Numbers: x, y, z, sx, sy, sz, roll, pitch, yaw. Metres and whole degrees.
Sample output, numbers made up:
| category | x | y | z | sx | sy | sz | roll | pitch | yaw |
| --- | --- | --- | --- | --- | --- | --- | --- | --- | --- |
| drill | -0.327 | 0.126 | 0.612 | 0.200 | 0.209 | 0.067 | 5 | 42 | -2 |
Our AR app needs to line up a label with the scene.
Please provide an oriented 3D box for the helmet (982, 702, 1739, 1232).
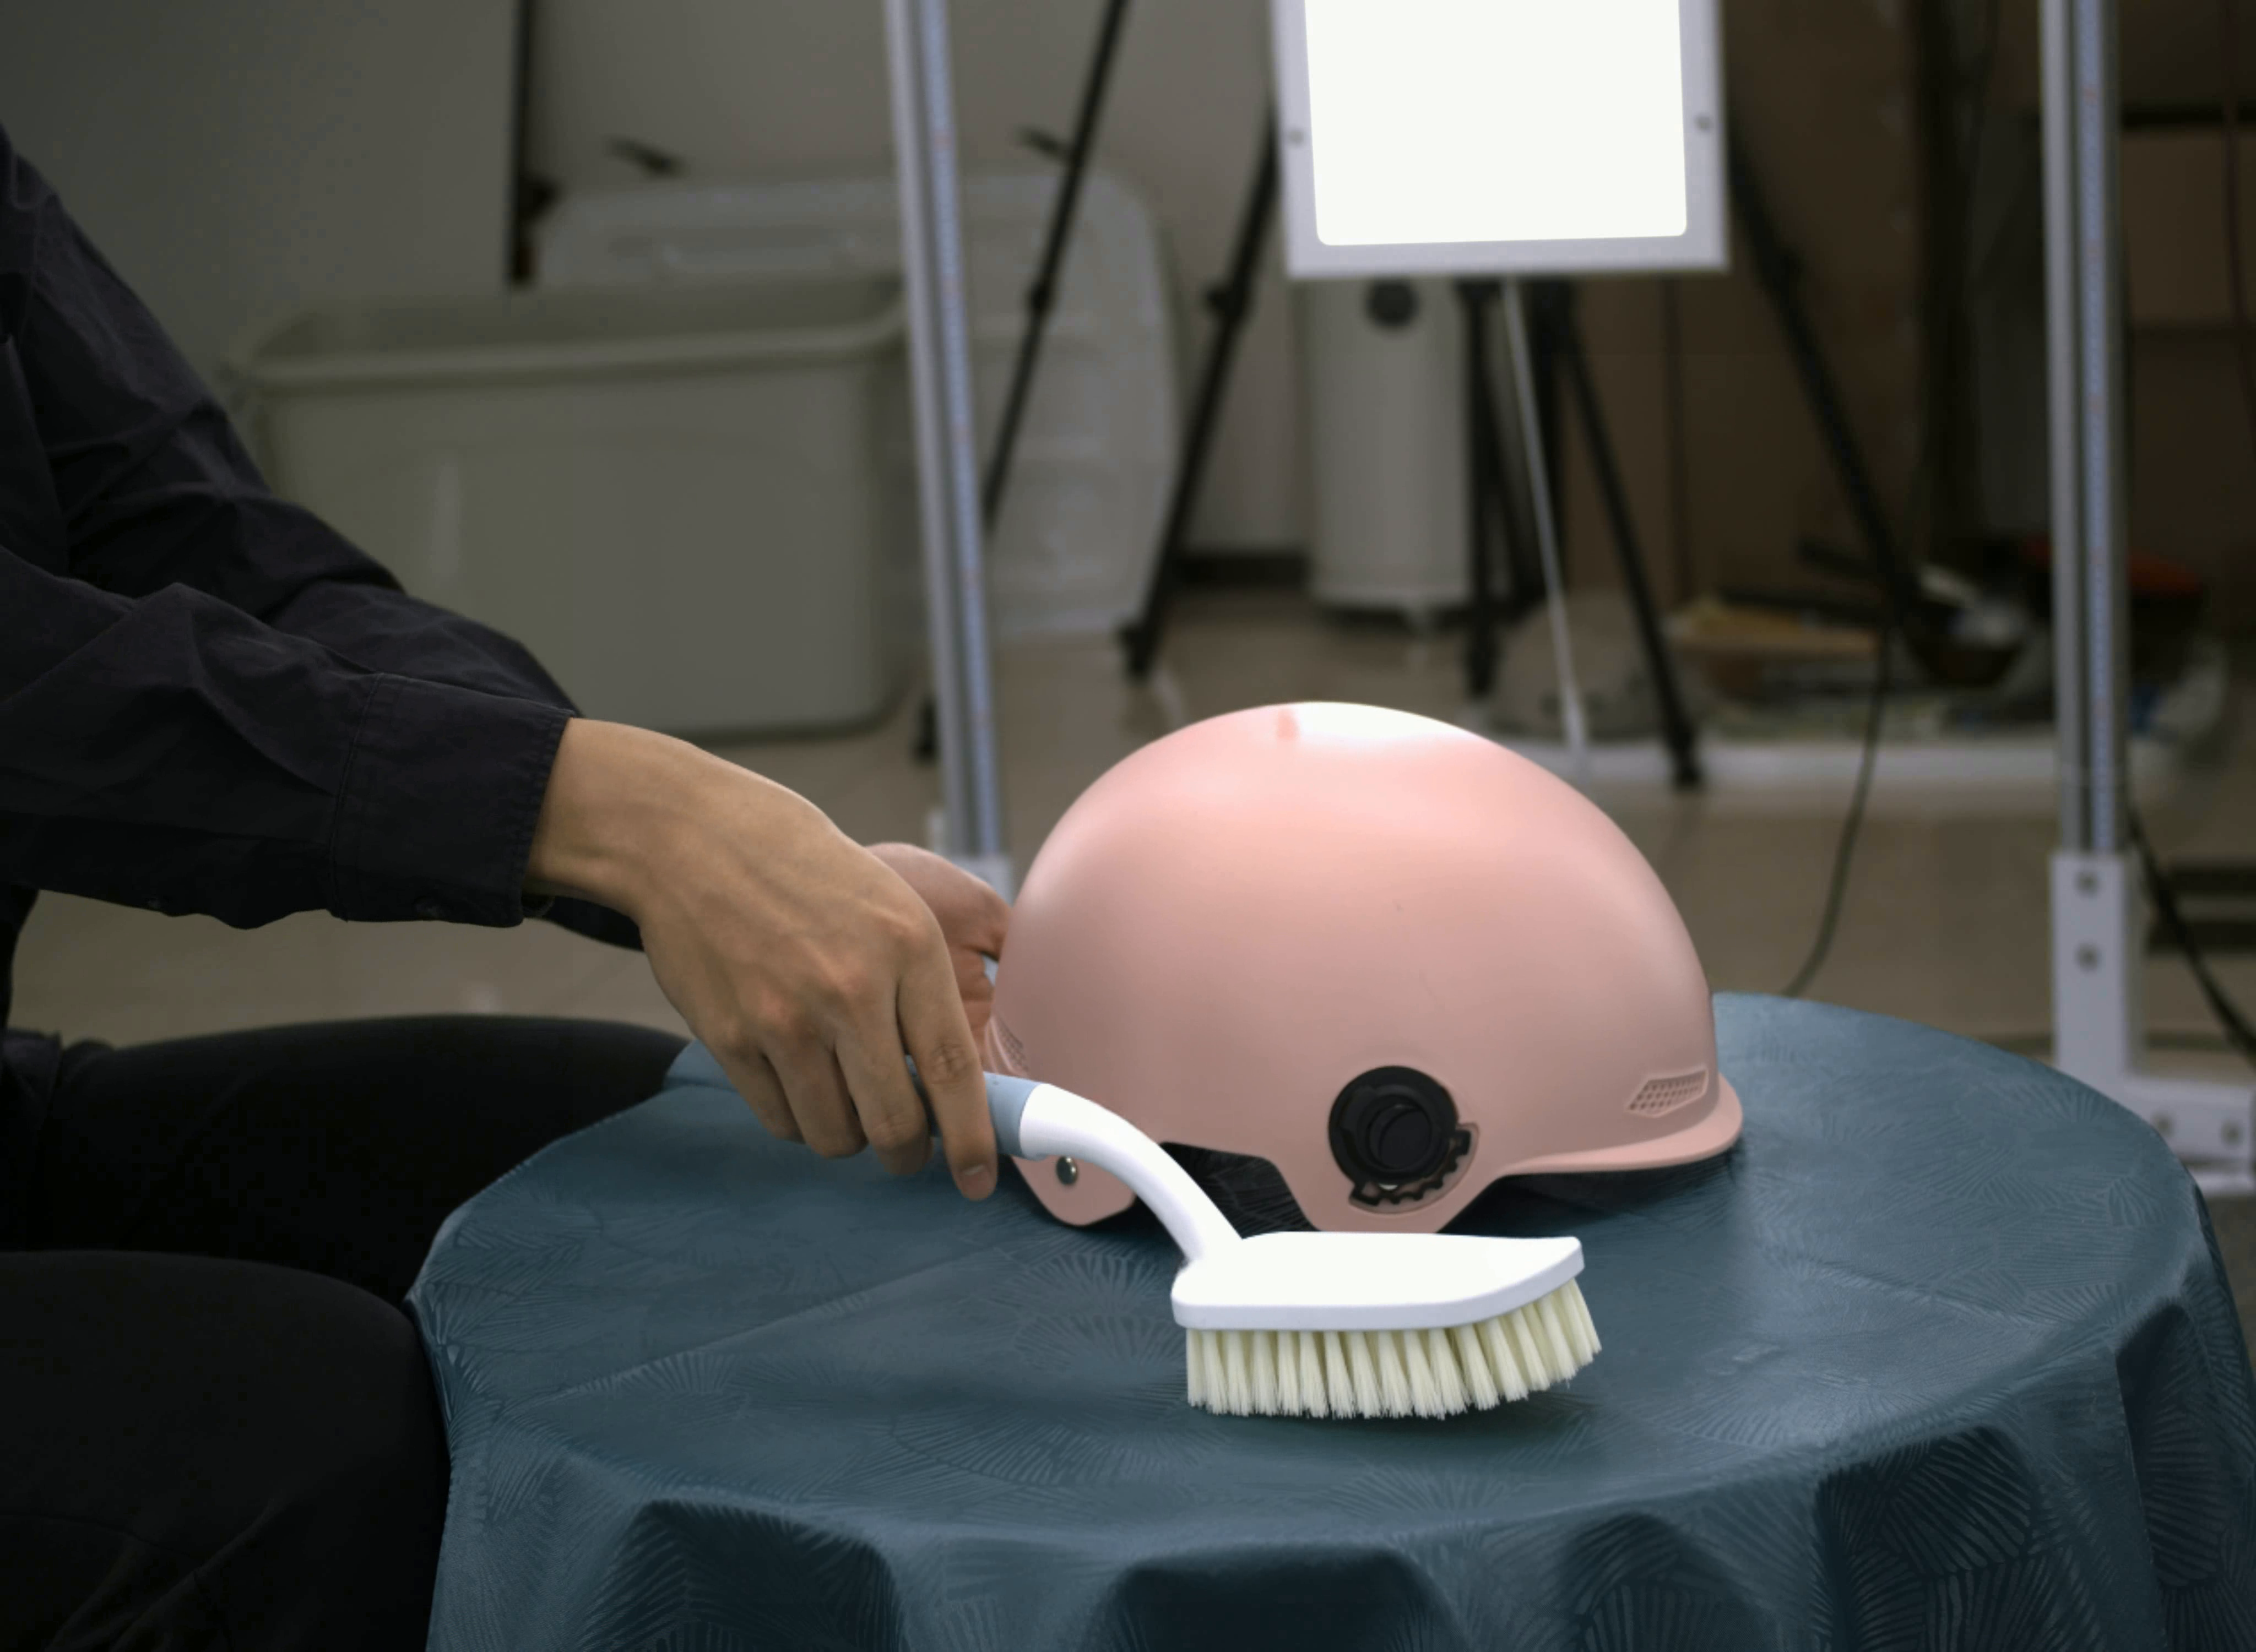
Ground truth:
| category | x | y | z | sx | sy | sz | roll | pitch | yaw |
| --- | --- | --- | --- | --- | --- | --- | --- | --- | --- |
| helmet | 0.082 | 0.039 | 1.904 | 0.267 | 0.159 | 0.231 | 3 | 14 | 10 |

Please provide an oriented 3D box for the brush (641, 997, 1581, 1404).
| category | x | y | z | sx | sy | sz | roll | pitch | yaw |
| --- | --- | --- | --- | --- | --- | --- | --- | --- | --- |
| brush | -0.010 | 0.130 | 1.722 | 0.330 | 0.084 | 0.082 | 12 | -16 | 27 |
